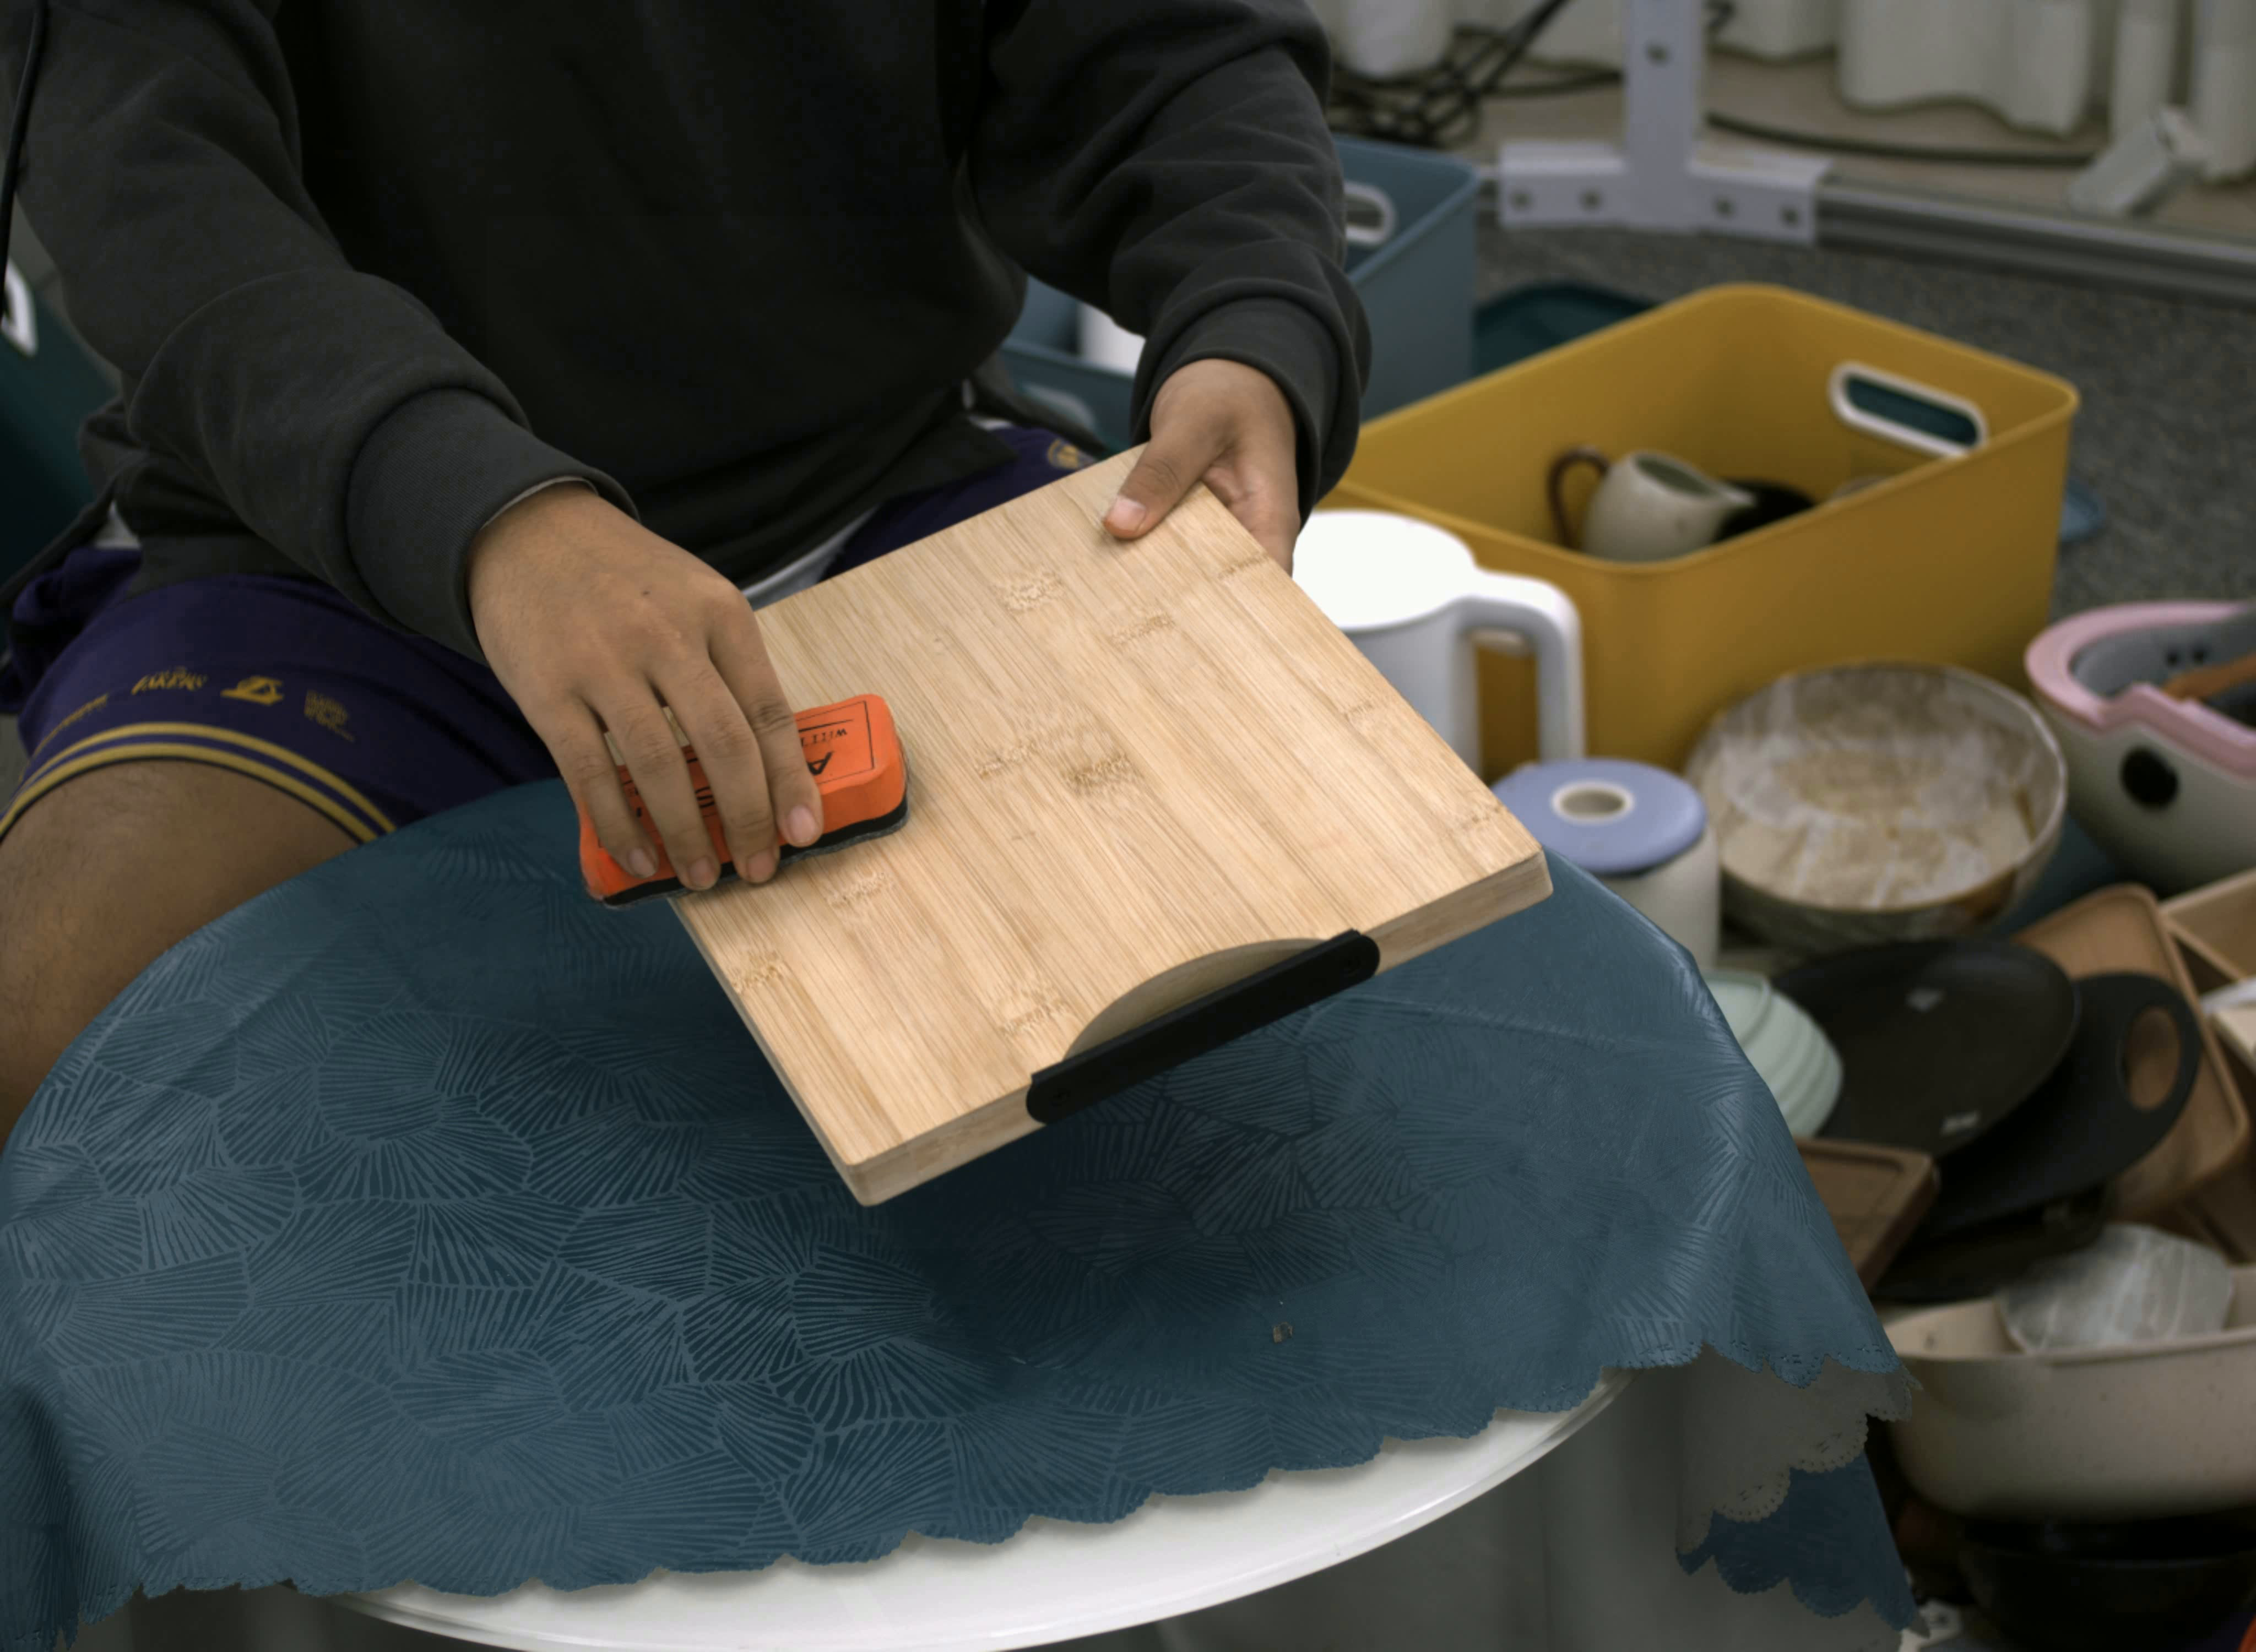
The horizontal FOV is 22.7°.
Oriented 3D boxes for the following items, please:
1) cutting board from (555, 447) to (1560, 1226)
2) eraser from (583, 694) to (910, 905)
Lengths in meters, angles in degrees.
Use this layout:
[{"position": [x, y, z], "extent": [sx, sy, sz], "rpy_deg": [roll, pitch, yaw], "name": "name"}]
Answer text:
[{"position": [-0.033, -0.008, 1.864], "extent": [0.251, 0.023, 0.351], "rpy_deg": [-24, 32, -11], "name": "cutting board"}, {"position": [-0.127, -0.009, 1.871], "extent": [0.107, 0.022, 0.060], "rpy_deg": [-15, 31, 2], "name": "eraser"}]
